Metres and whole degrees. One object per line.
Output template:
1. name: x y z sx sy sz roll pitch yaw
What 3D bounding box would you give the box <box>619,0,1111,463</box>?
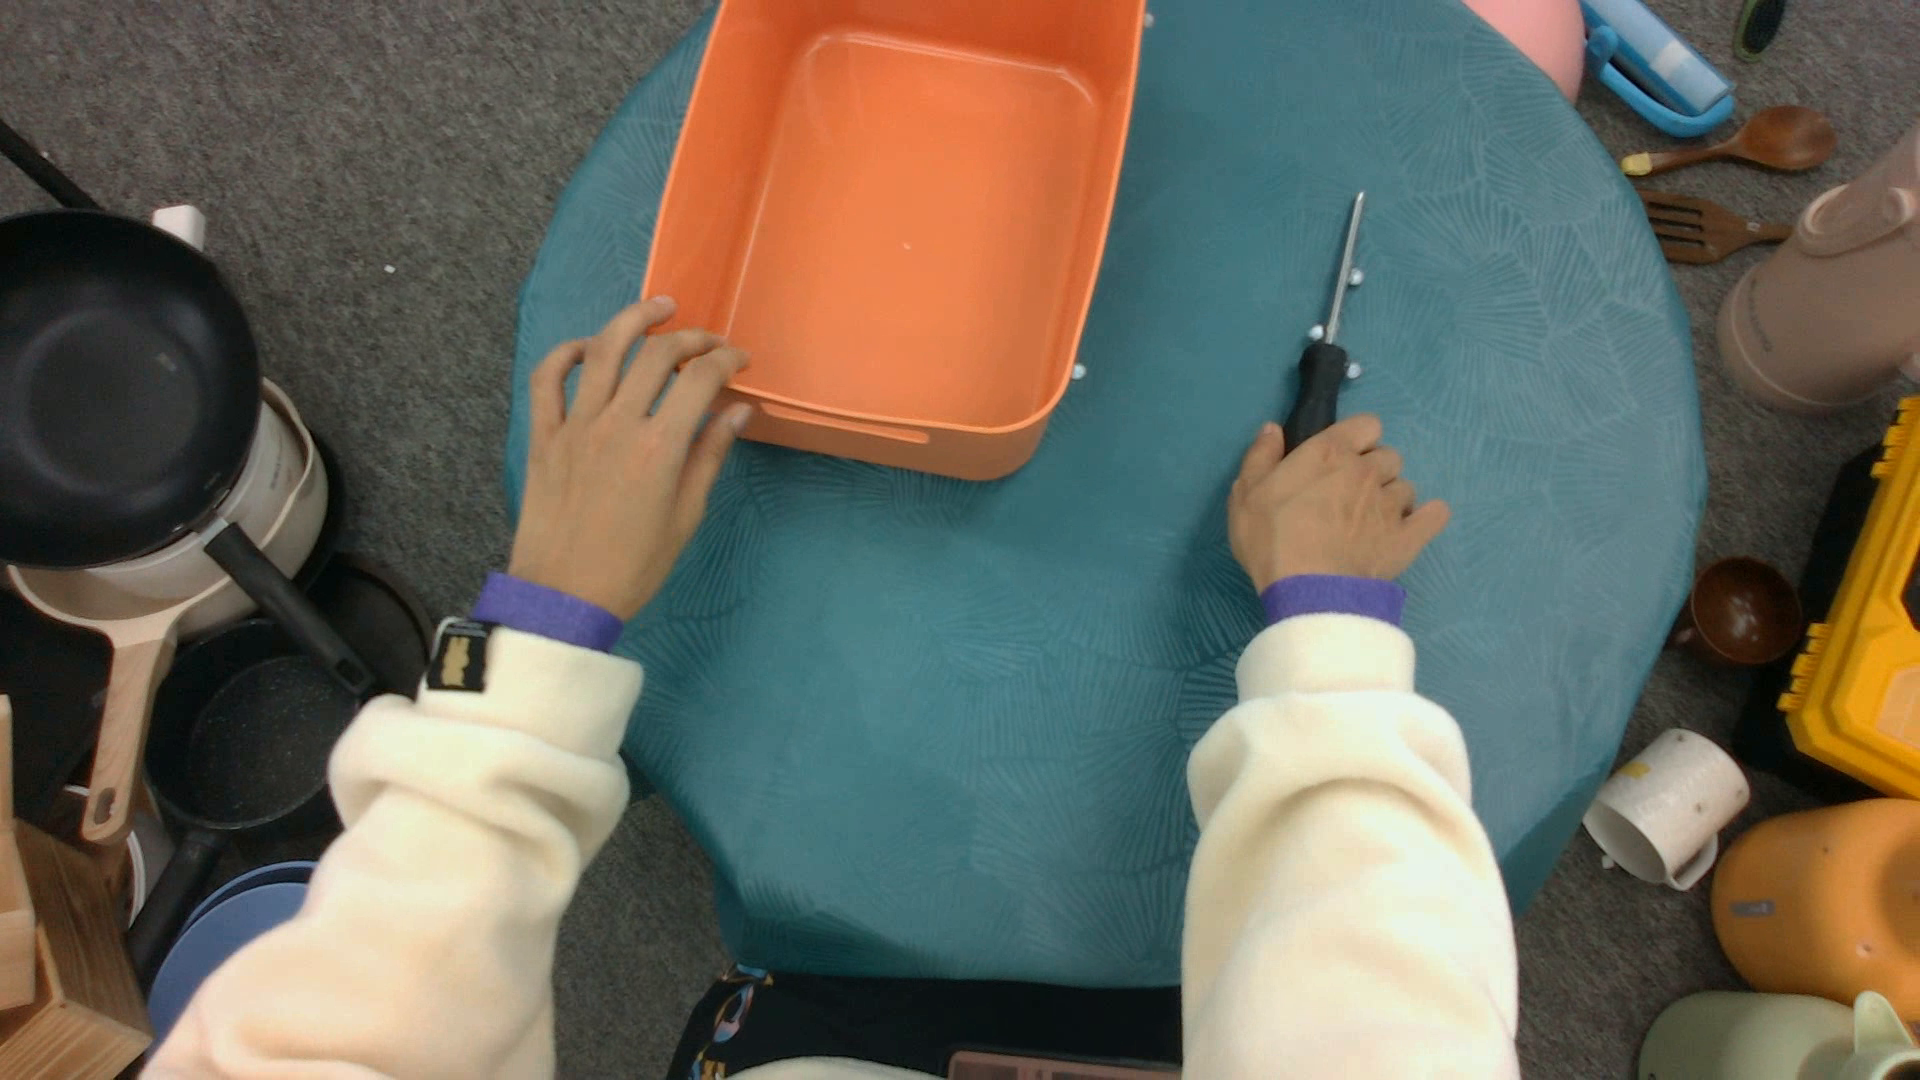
1. box: -0.039 -0.175 0.666 0.199 0.102 0.274 10 72 1

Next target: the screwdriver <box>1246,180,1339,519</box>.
1. screwdriver: 0.175 -0.099 0.694 0.031 0.031 0.197 17 68 4
